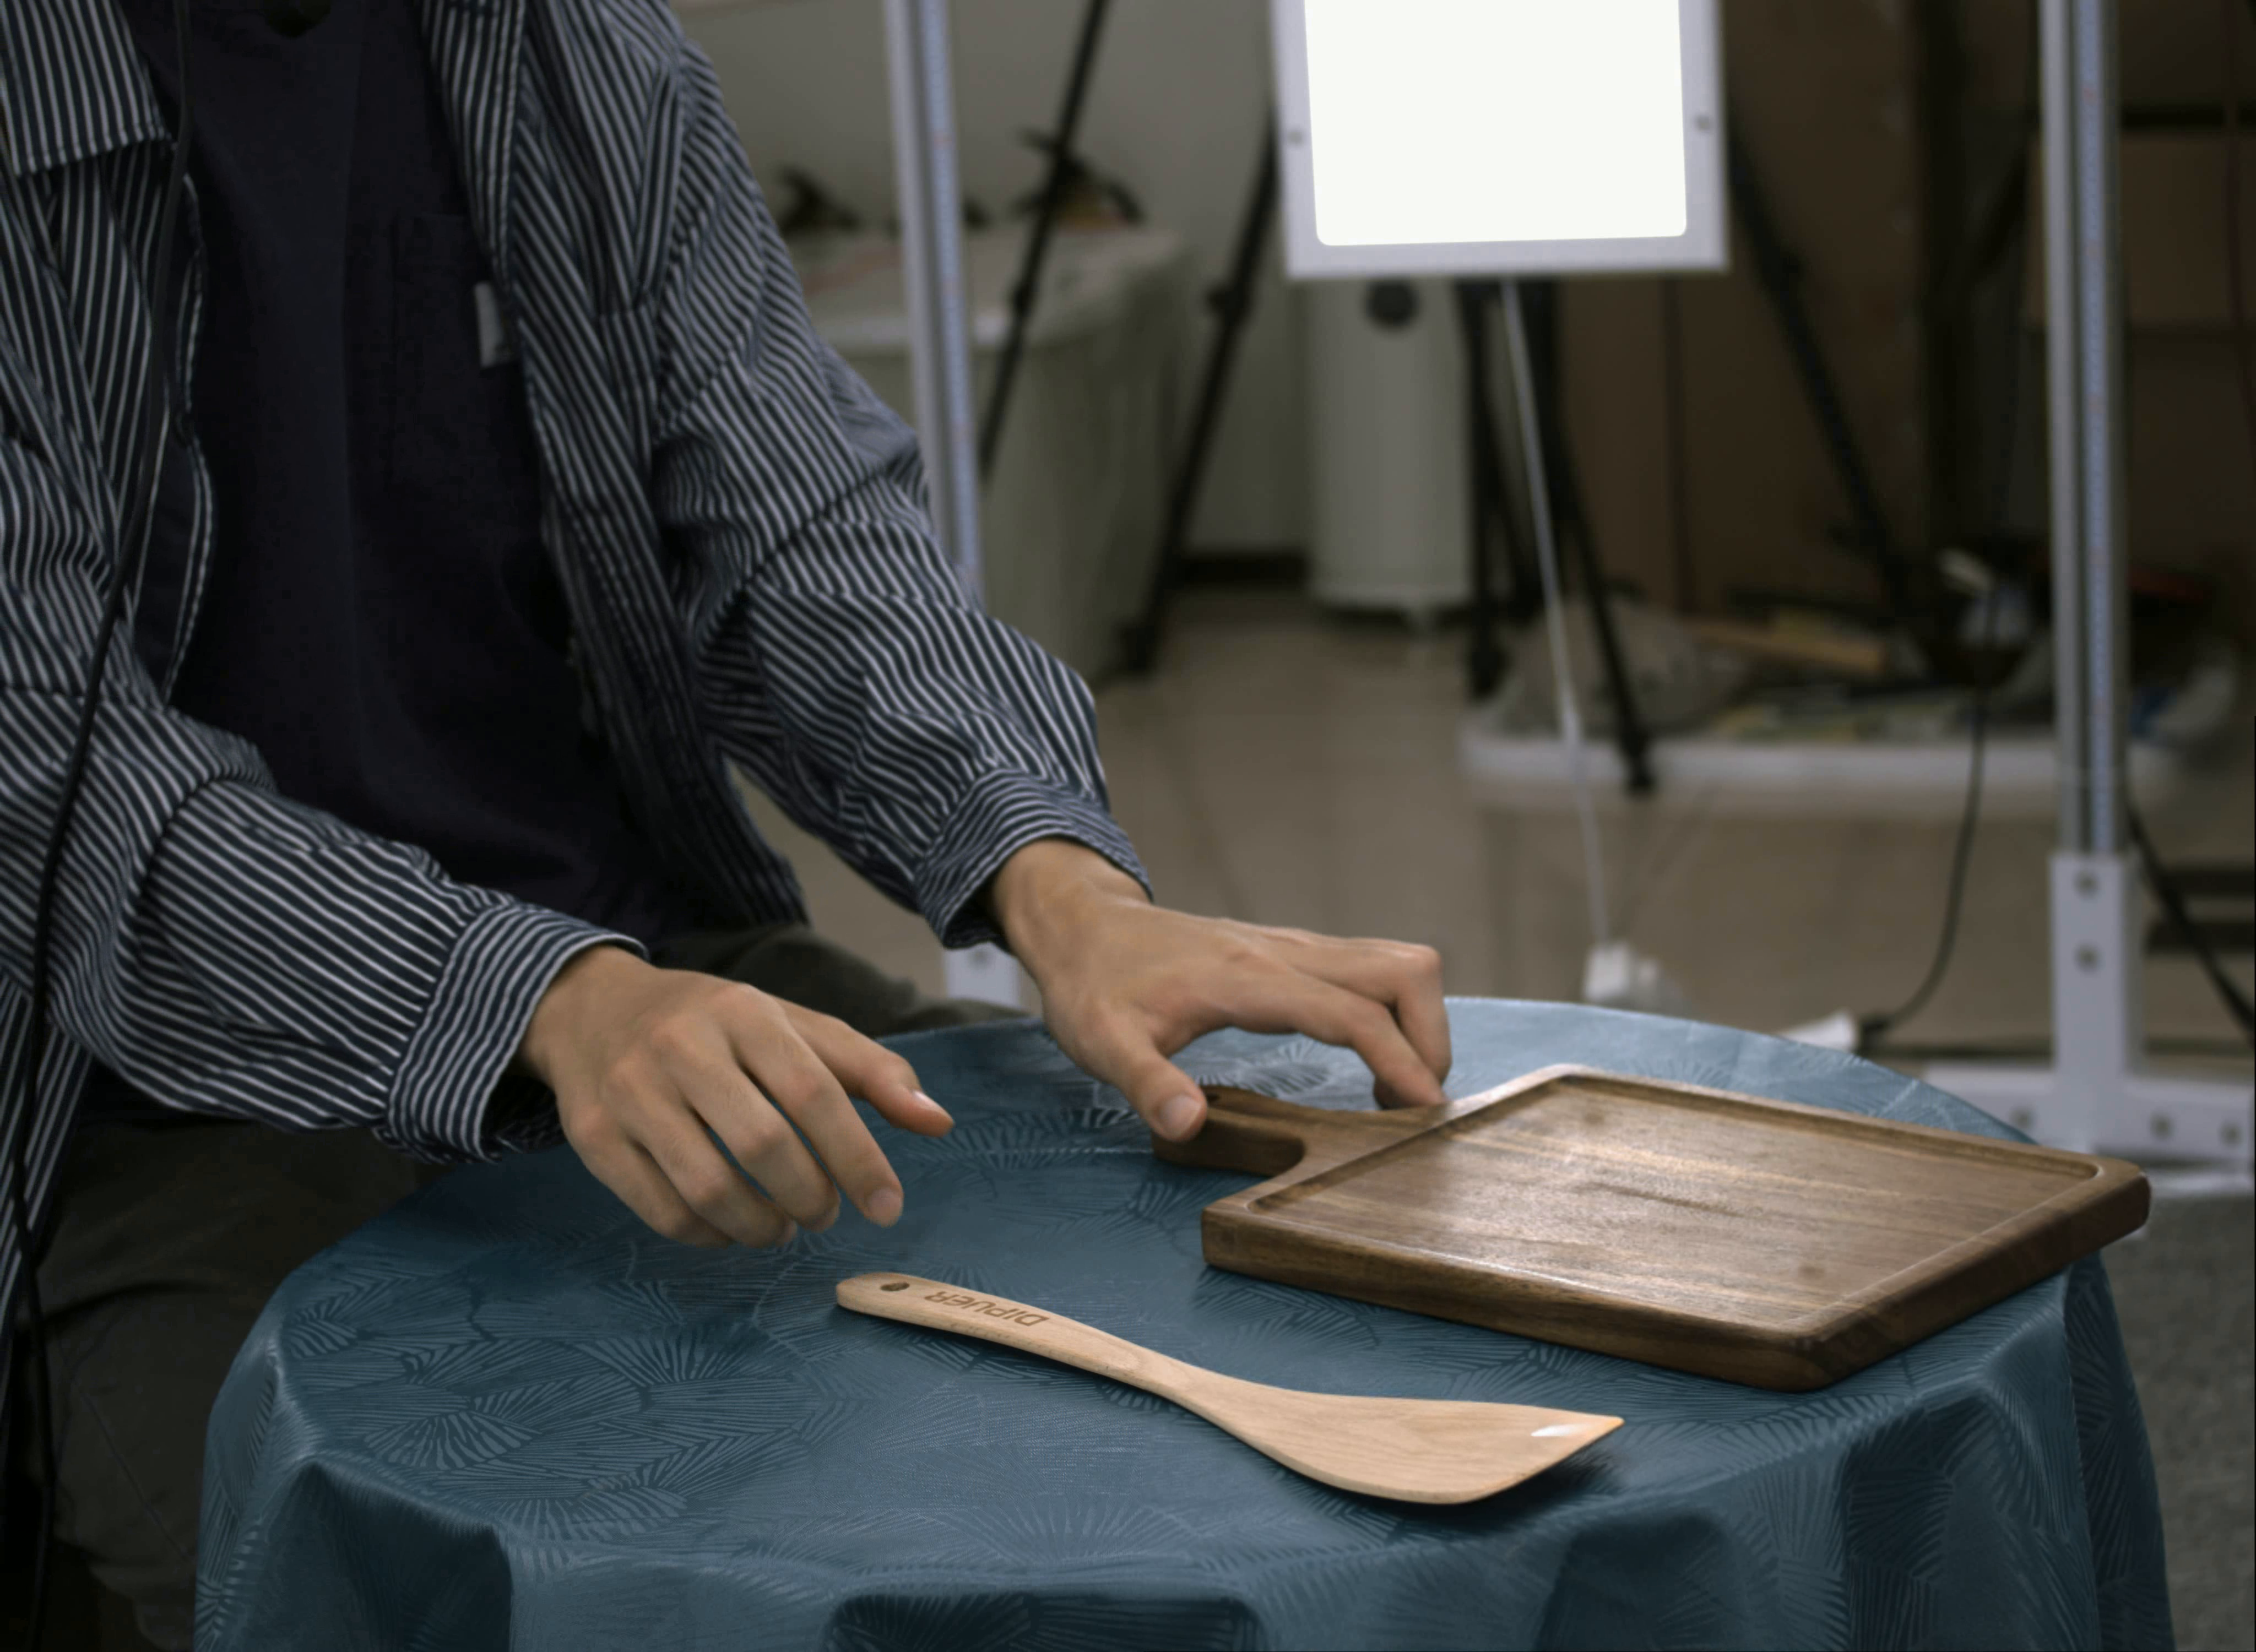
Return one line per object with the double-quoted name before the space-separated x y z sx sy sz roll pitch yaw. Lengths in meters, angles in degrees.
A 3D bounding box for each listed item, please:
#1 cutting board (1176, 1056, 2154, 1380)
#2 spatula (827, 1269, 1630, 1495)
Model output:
"cutting board" 0.152 0.118 1.827 0.360 0.023 0.196 8 19 44
"spatula" 0.019 0.165 1.692 0.078 0.016 0.334 -16 17 -40
